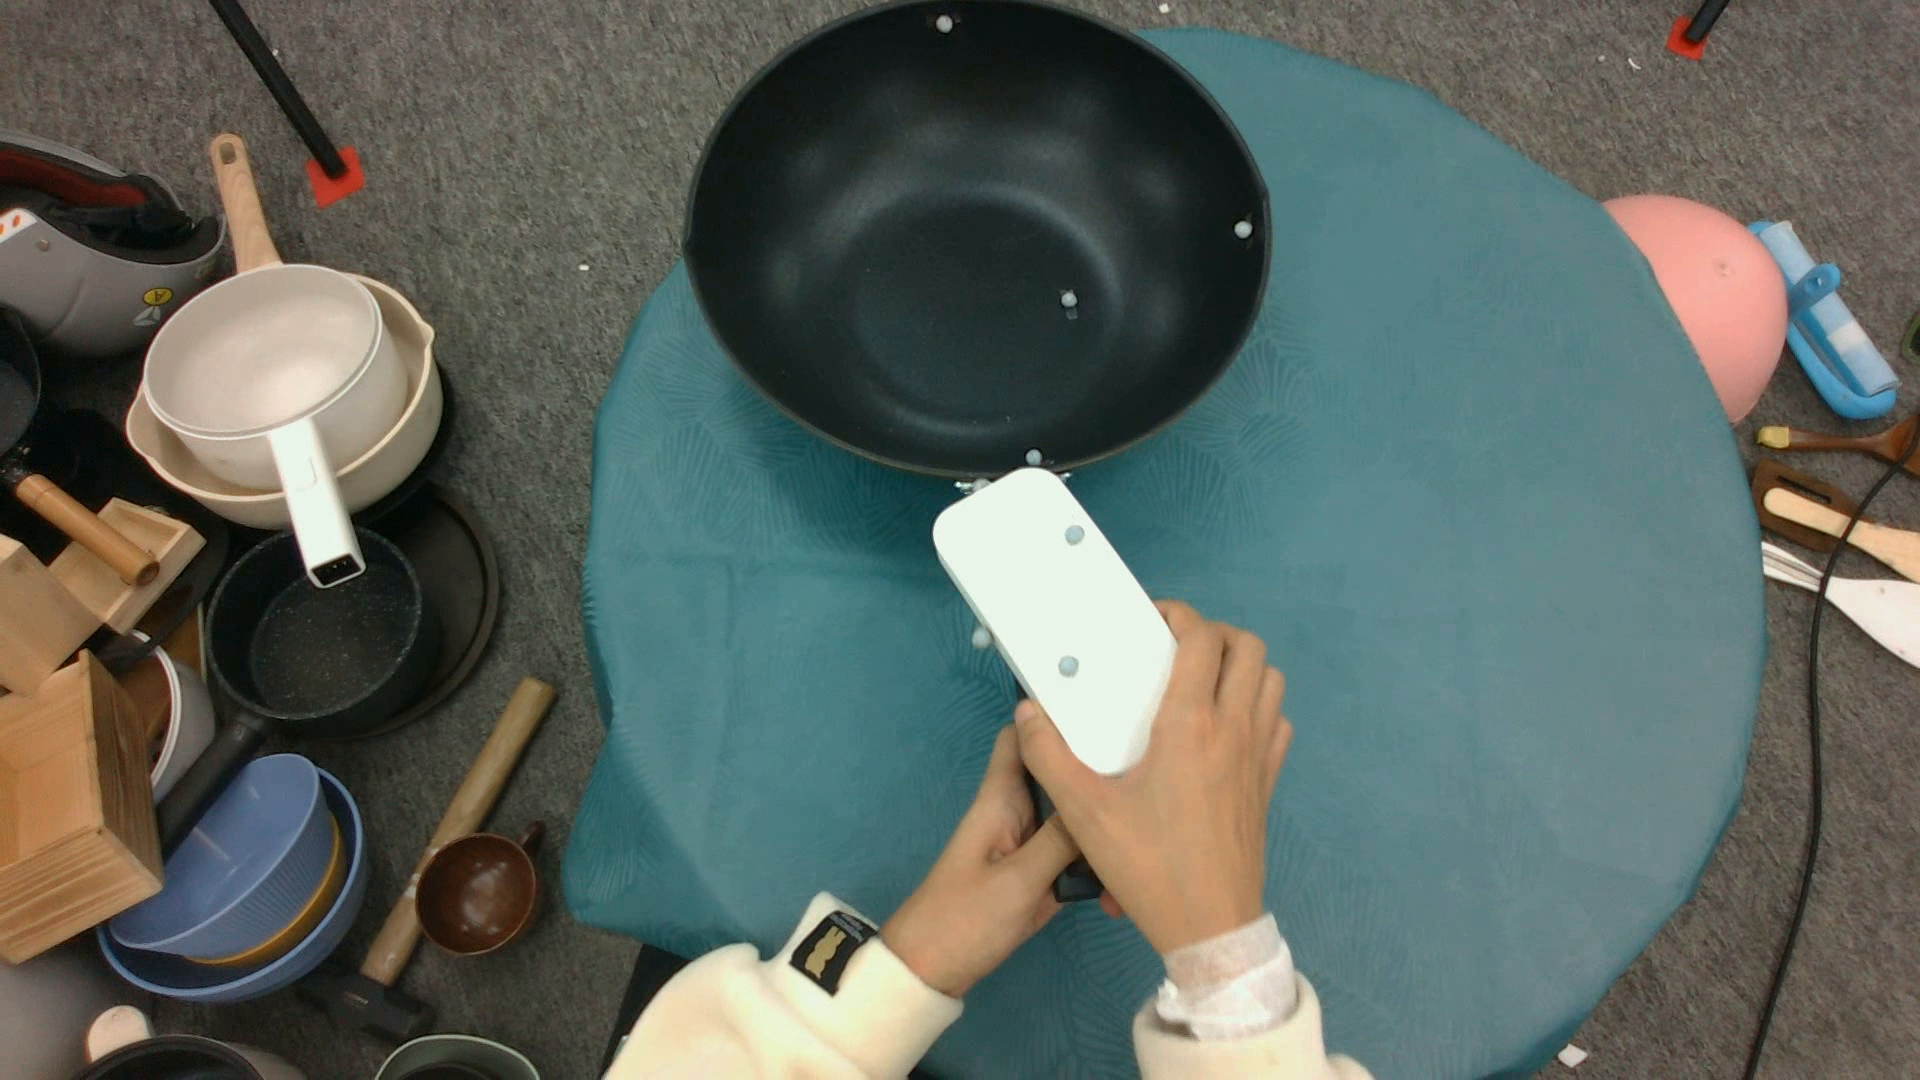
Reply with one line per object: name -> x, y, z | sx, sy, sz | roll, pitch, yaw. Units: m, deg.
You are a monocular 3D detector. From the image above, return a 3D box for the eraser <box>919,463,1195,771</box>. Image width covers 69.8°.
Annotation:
eraser -> 0.037, 0.031, 0.563 | 0.063, 0.034, 0.131 | -29, 69, -13

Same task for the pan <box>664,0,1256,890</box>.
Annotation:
pan -> 0.011, -0.064, 0.666 | 0.288, 0.086, 0.464 | -6, 69, -5
